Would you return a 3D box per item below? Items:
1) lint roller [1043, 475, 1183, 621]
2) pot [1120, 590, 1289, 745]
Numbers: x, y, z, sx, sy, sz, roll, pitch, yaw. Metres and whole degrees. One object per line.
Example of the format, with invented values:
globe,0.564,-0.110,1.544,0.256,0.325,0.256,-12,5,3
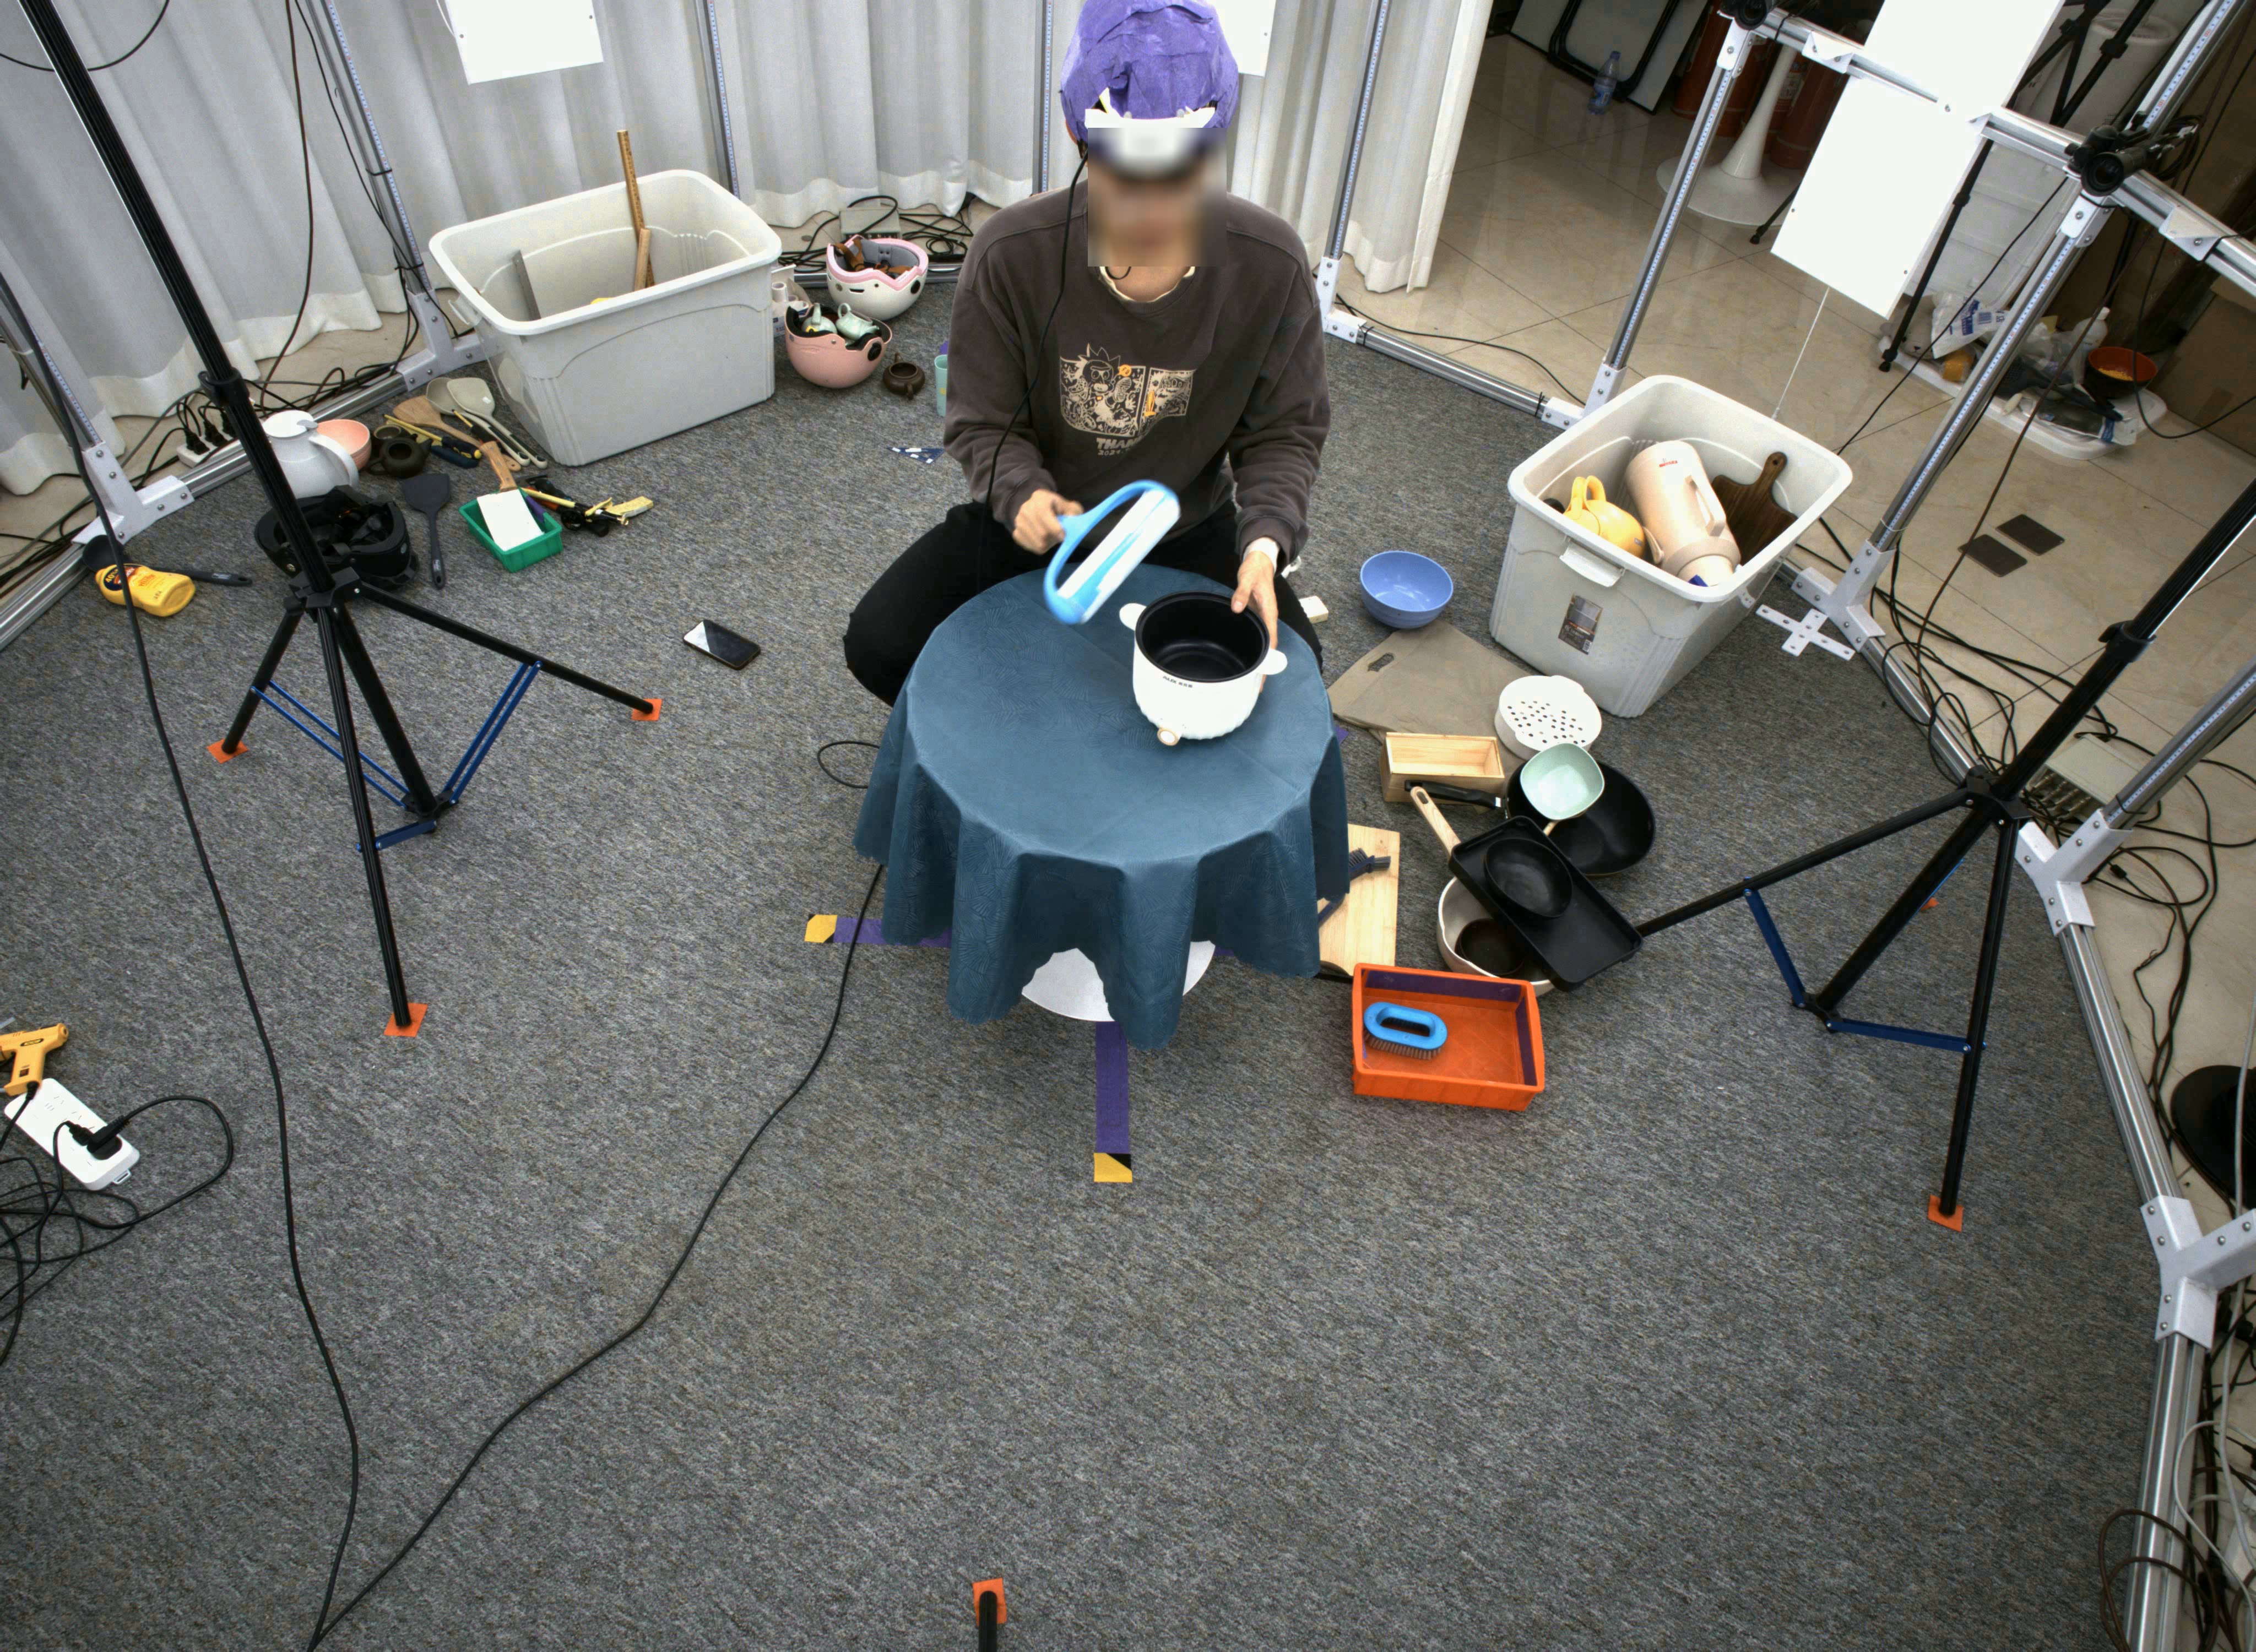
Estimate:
lint roller,-0.053,-0.377,1.681,0.182,0.066,0.231,27,72,31
pot,0.096,-0.211,1.765,0.242,0.139,0.194,19,47,14
